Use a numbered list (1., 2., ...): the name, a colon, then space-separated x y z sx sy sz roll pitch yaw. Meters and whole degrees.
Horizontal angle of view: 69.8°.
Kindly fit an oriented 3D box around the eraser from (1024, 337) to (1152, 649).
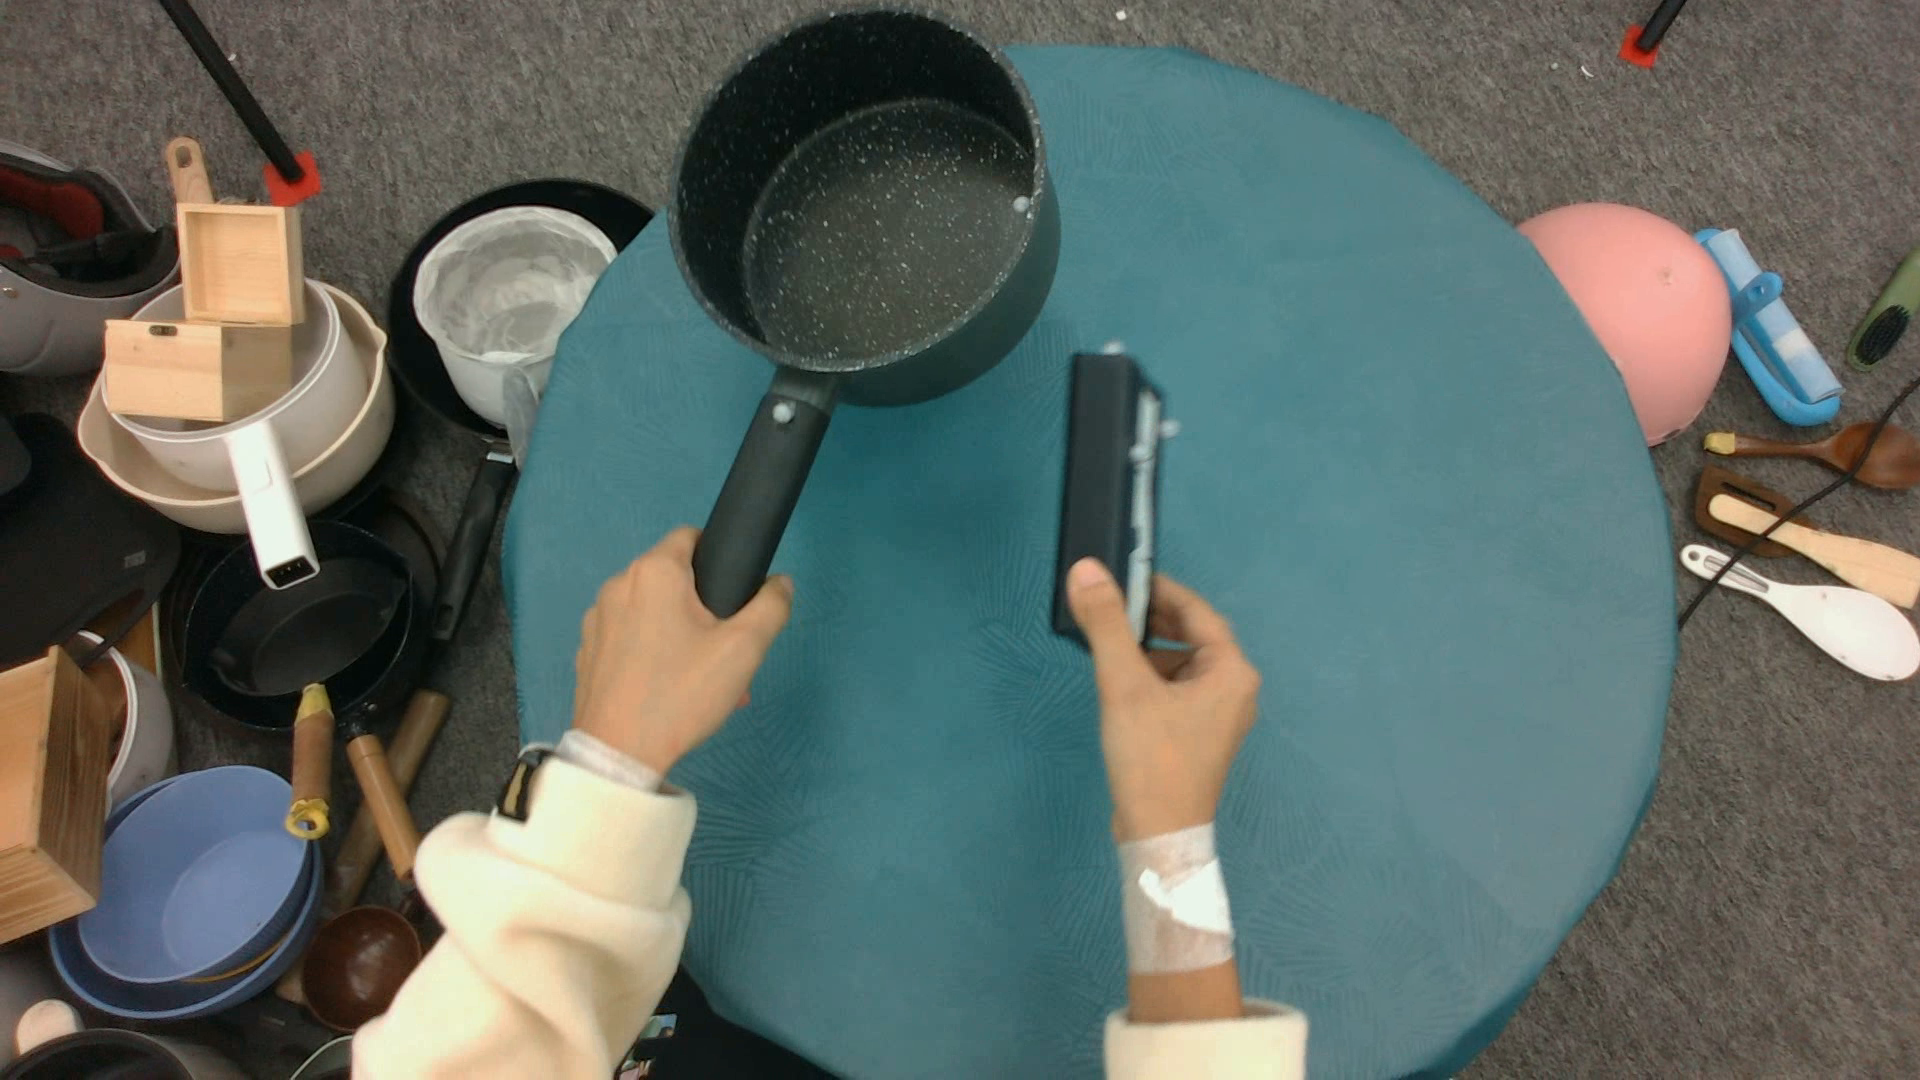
1. eraser: 0.056 -0.020 0.586 0.030 0.053 0.126 0 73 26

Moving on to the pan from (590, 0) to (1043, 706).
1. pan: -0.072 -0.080 0.618 0.172 0.086 0.329 18 80 15
